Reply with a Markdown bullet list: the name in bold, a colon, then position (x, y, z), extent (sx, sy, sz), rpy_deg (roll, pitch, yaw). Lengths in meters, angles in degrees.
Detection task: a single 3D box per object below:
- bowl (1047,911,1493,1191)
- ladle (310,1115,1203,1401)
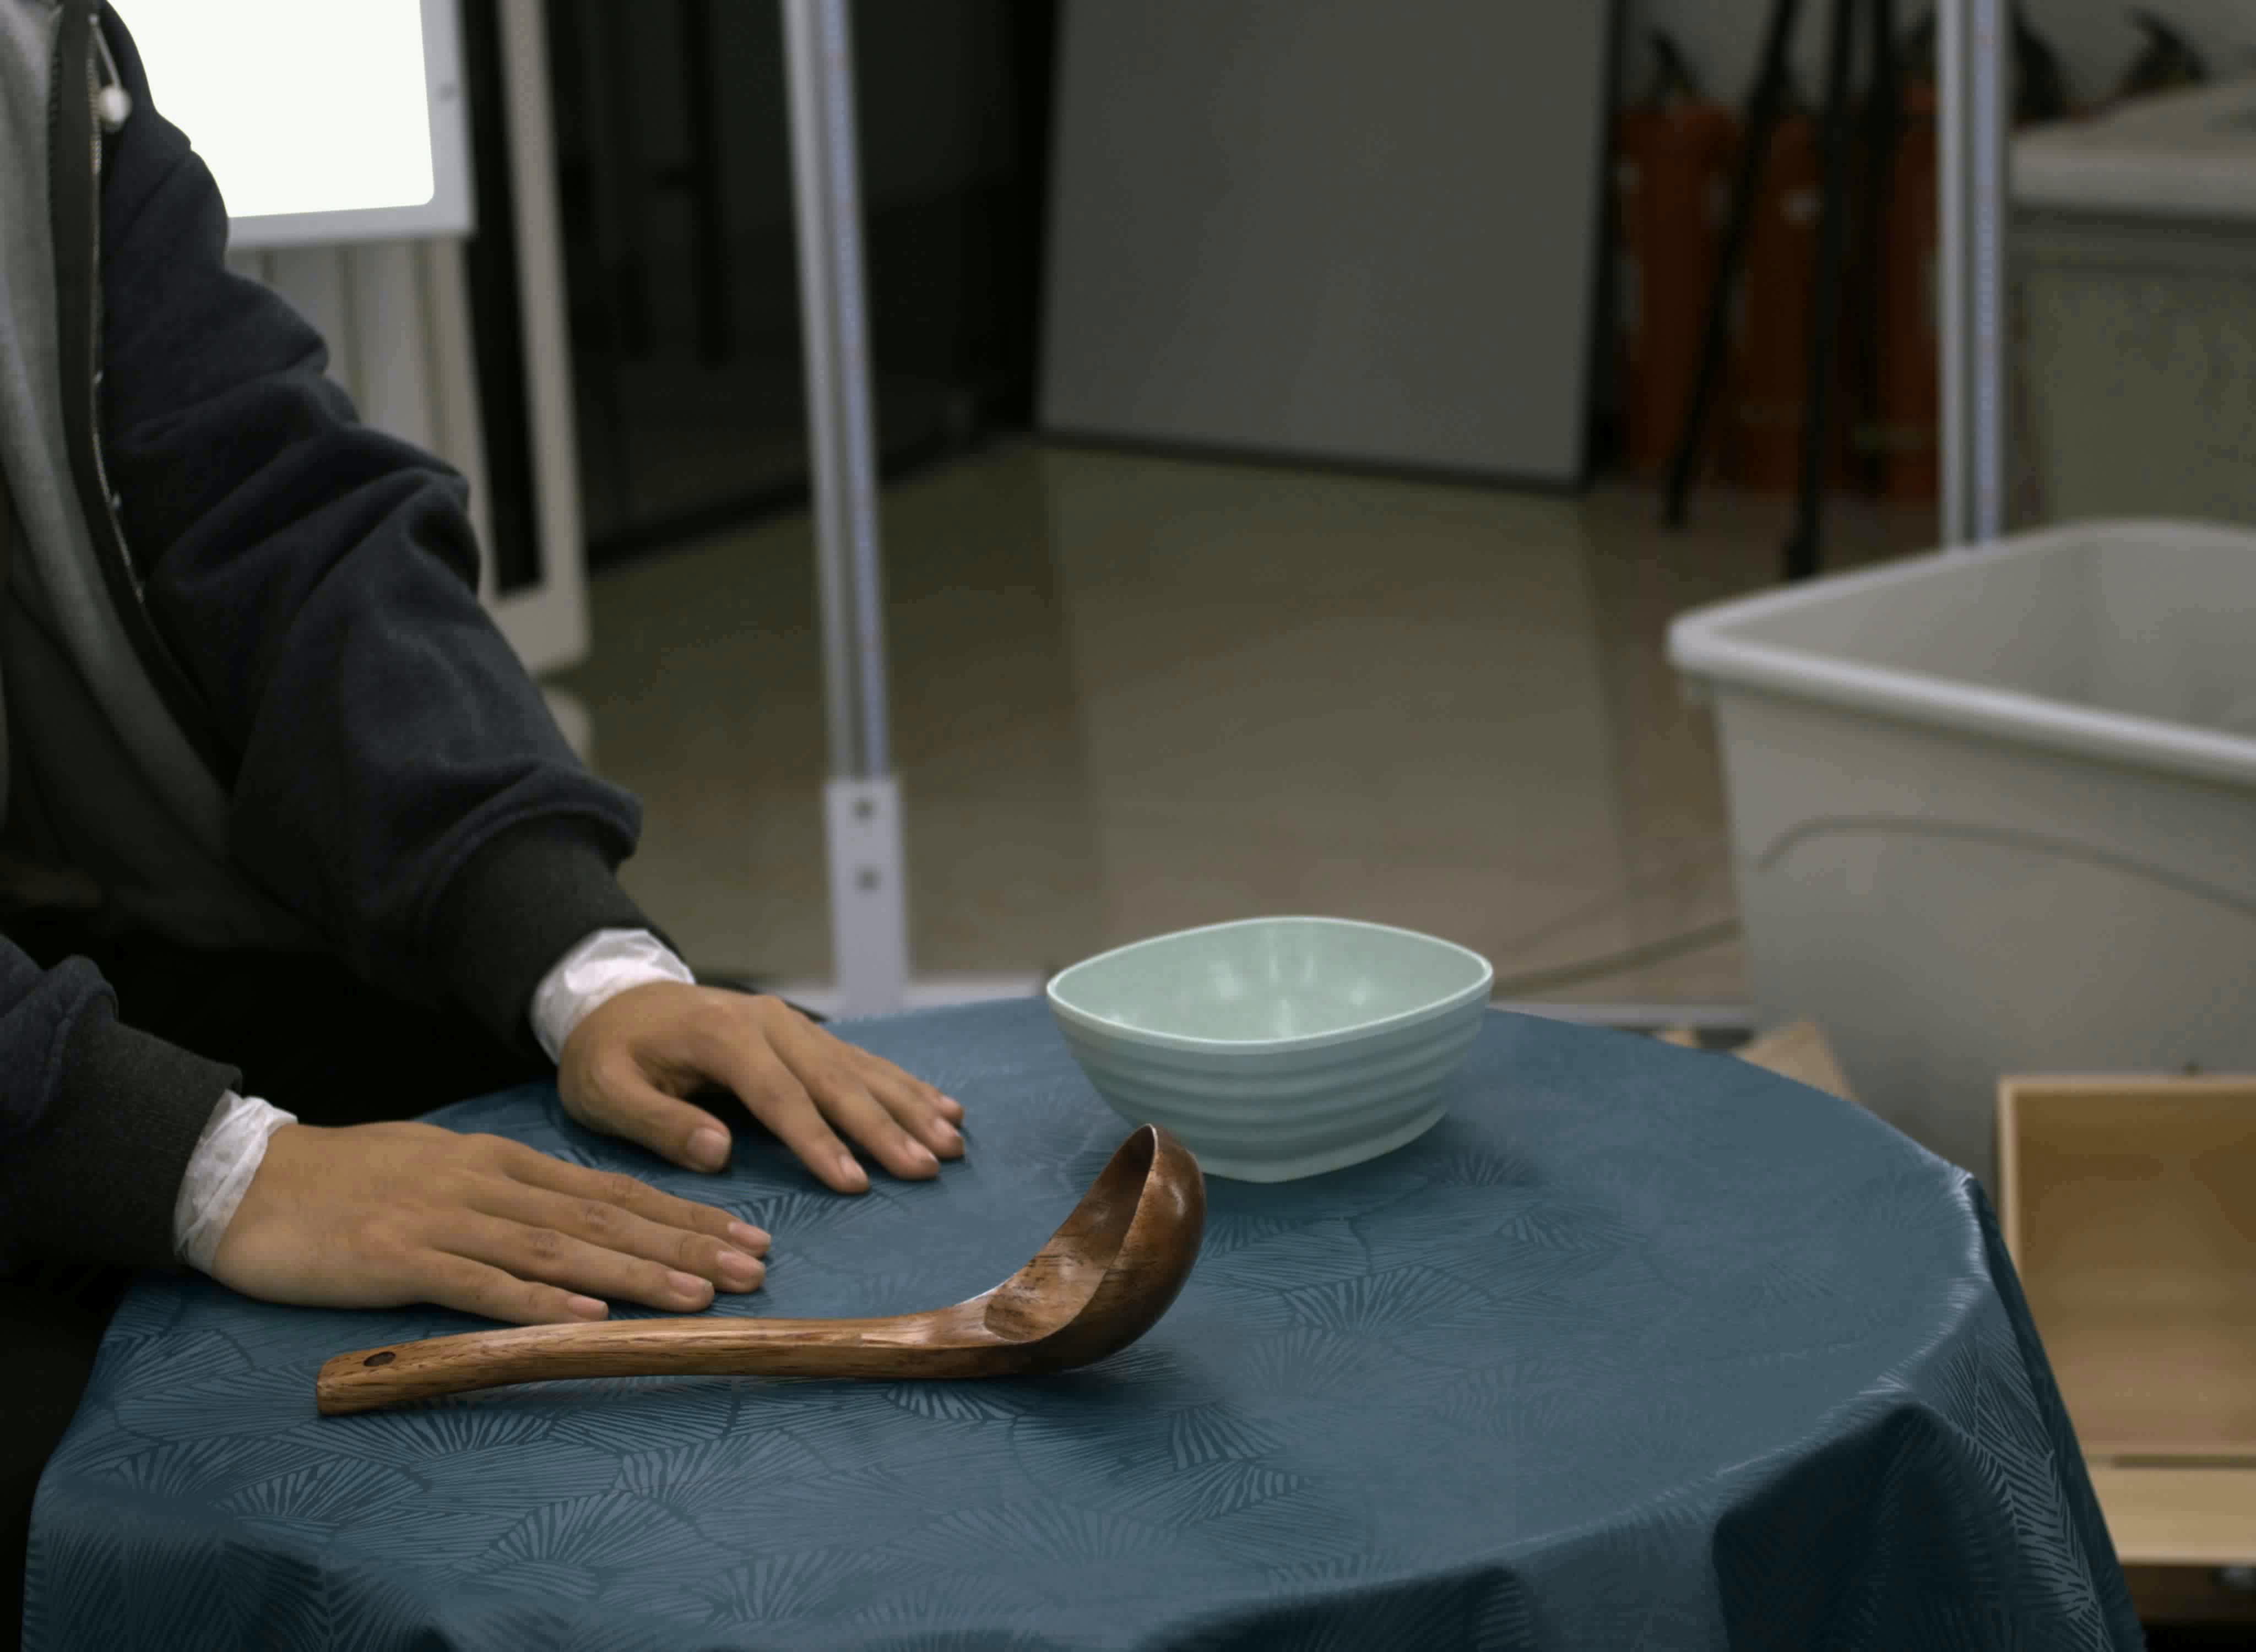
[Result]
- **bowl**: position (0.048, 0.078, 1.807), extent (0.149, 0.059, 0.152), rpy_deg (-3, 16, 0)
- **ladle**: position (-0.112, 0.129, 1.601), extent (0.271, 0.077, 0.082), rpy_deg (-2, 18, 5)
